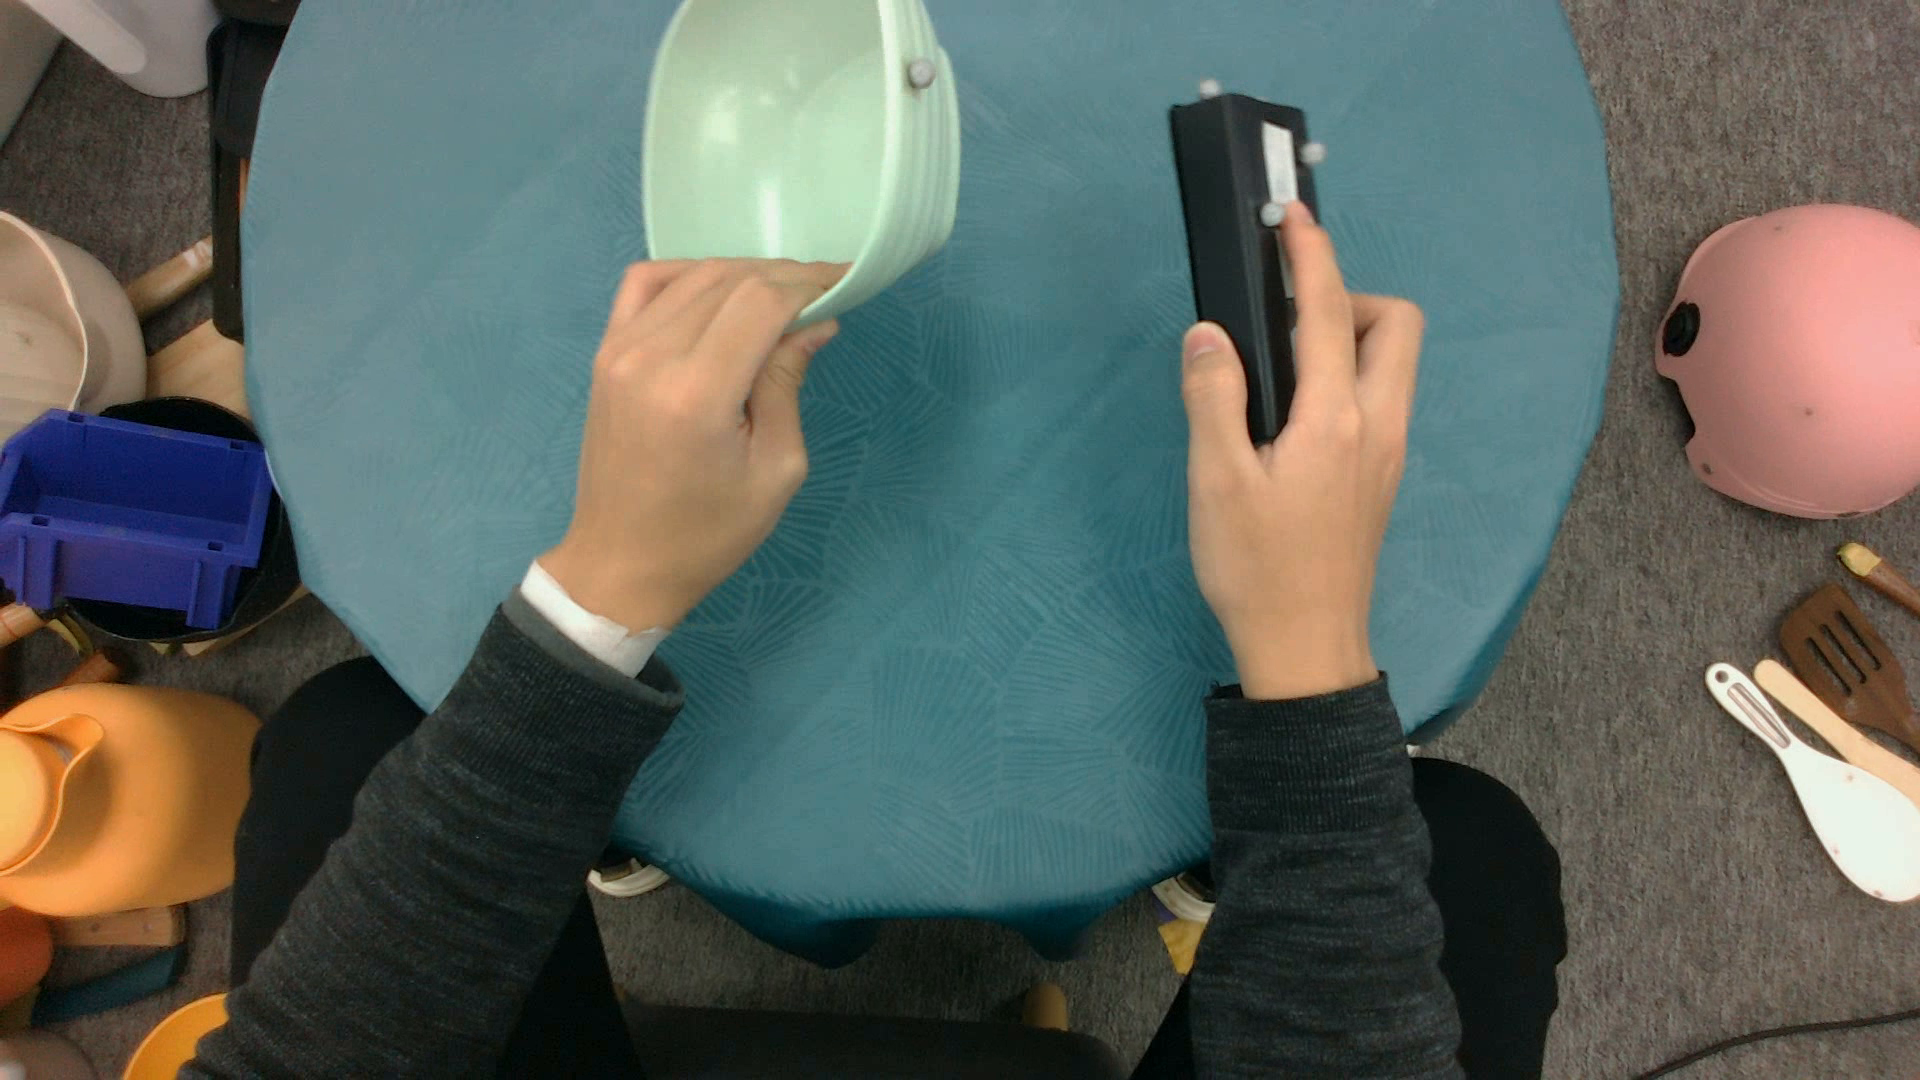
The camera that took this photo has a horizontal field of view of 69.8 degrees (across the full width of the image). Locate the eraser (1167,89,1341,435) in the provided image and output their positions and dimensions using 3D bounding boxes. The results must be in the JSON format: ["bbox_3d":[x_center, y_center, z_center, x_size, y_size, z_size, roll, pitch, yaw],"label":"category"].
[{"bbox_3d":[0.109,-0.101,0.510,0.053,0.030,0.125,-6,89,-40],"label":"eraser"}]

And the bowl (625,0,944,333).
[{"bbox_3d":[-0.056,-0.142,0.501,0.151,0.059,0.151,-2,87,40],"label":"bowl"}]
